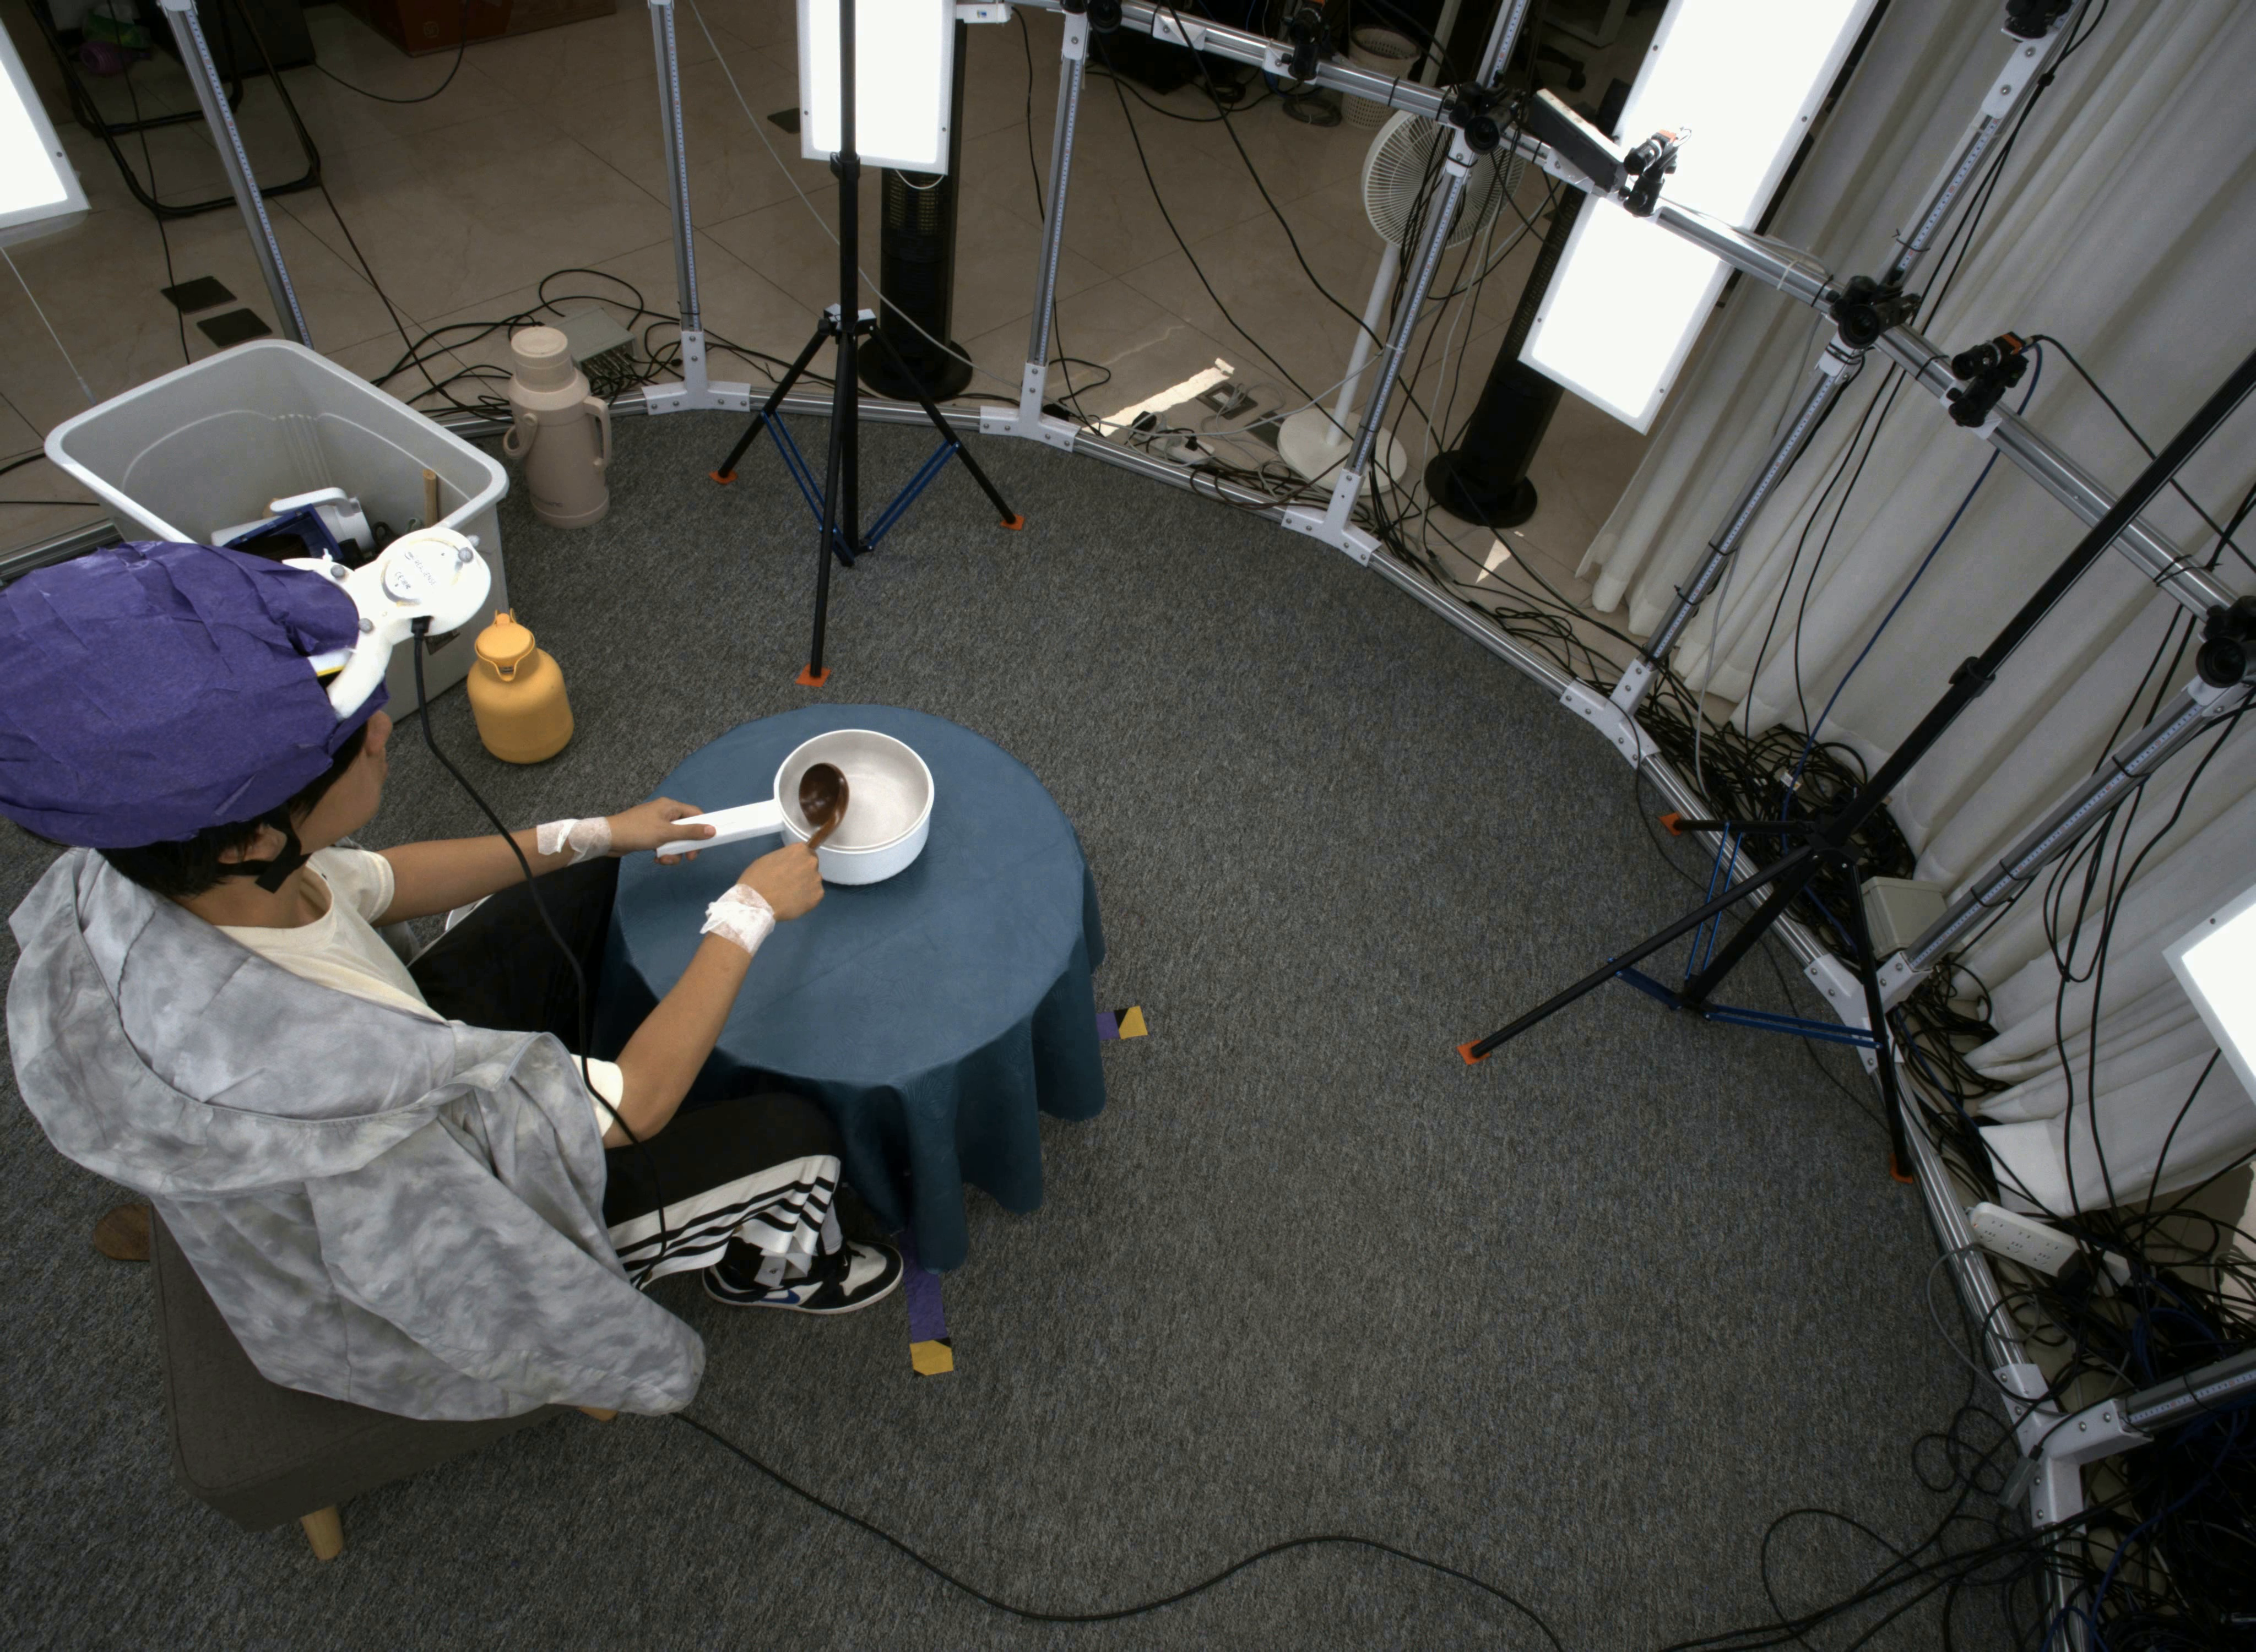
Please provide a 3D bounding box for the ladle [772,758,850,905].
[{"bbox_3d":[-0.397,0.001,1.550,0.076,0.083,0.270,25,27,-3],"label":"ladle"}]

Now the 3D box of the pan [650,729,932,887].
[{"bbox_3d":[-0.426,-0.001,1.664,0.356,0.104,0.196,-15,59,-22],"label":"pan"}]
